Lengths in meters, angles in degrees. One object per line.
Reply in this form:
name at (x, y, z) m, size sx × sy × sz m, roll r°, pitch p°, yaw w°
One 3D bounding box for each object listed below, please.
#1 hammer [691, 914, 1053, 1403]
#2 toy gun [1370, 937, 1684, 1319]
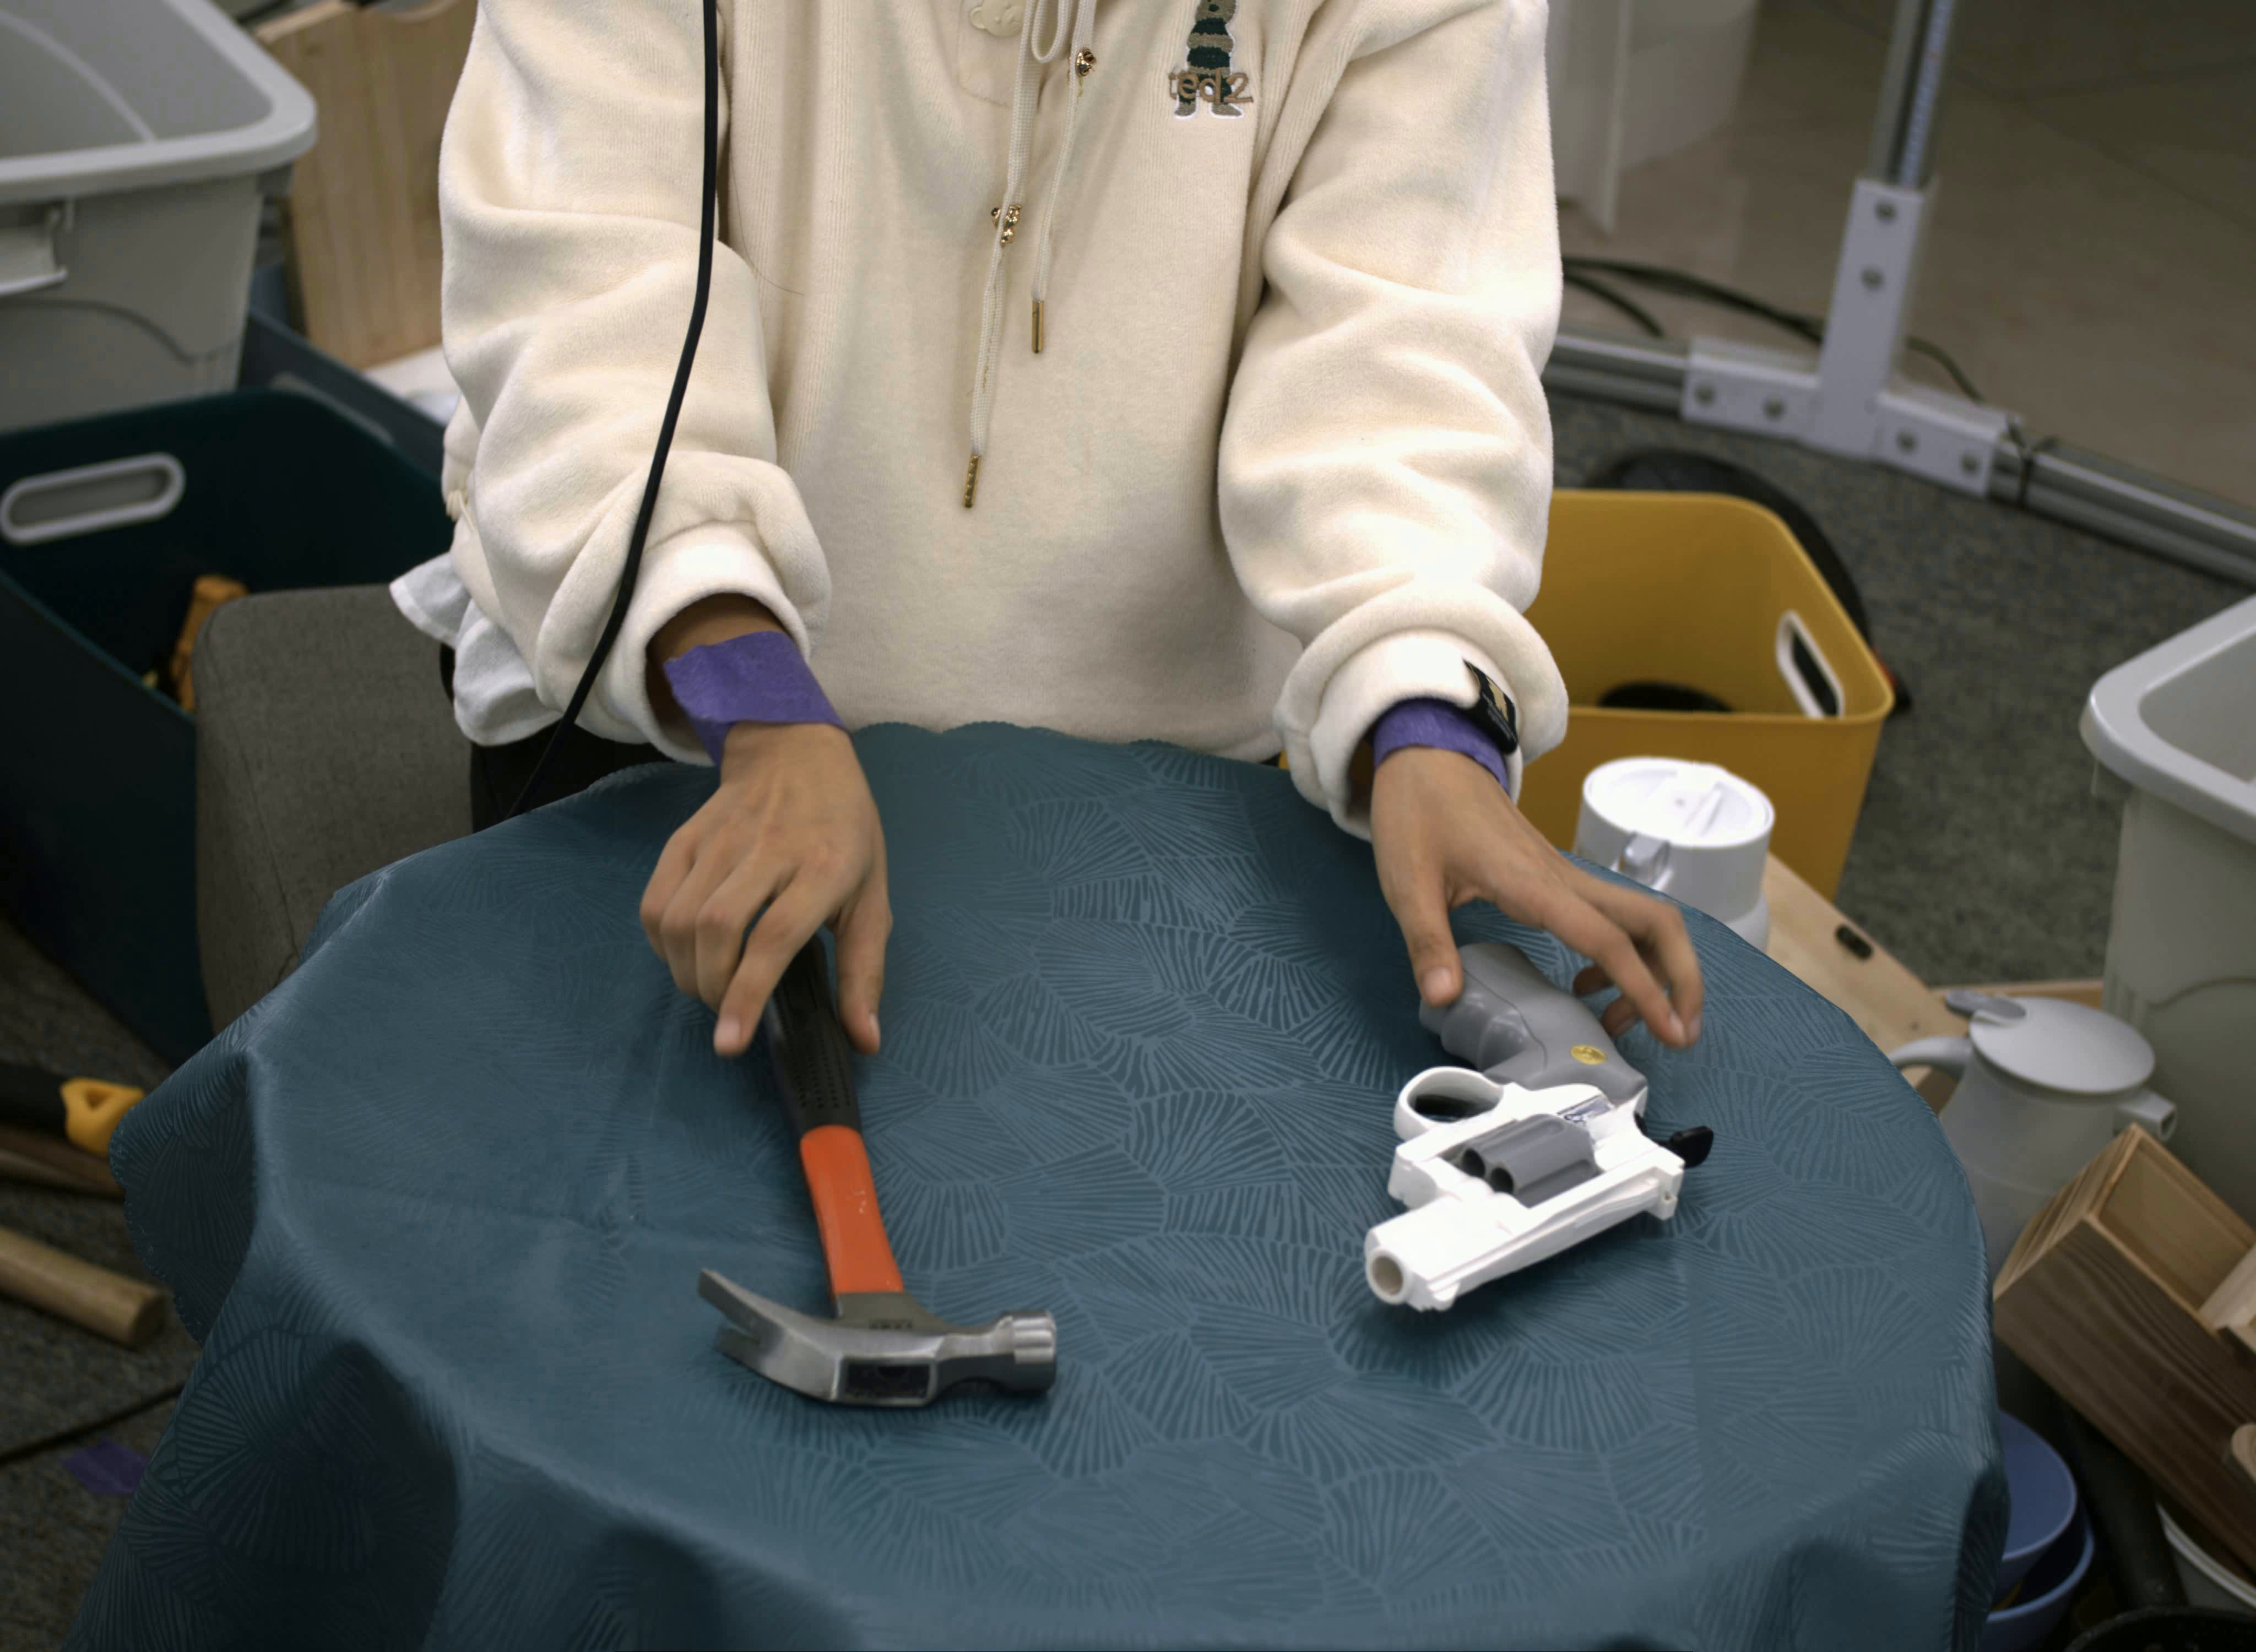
hammer at (-0.101, 0.106, 1.779) m, size 0.110 × 0.026 × 0.279 m, roll -7°, pitch 29°, yaw -7°
toy gun at (0.118, 0.103, 1.824) m, size 0.142 × 0.038 × 0.208 m, roll 28°, pitch 32°, yaw 32°
